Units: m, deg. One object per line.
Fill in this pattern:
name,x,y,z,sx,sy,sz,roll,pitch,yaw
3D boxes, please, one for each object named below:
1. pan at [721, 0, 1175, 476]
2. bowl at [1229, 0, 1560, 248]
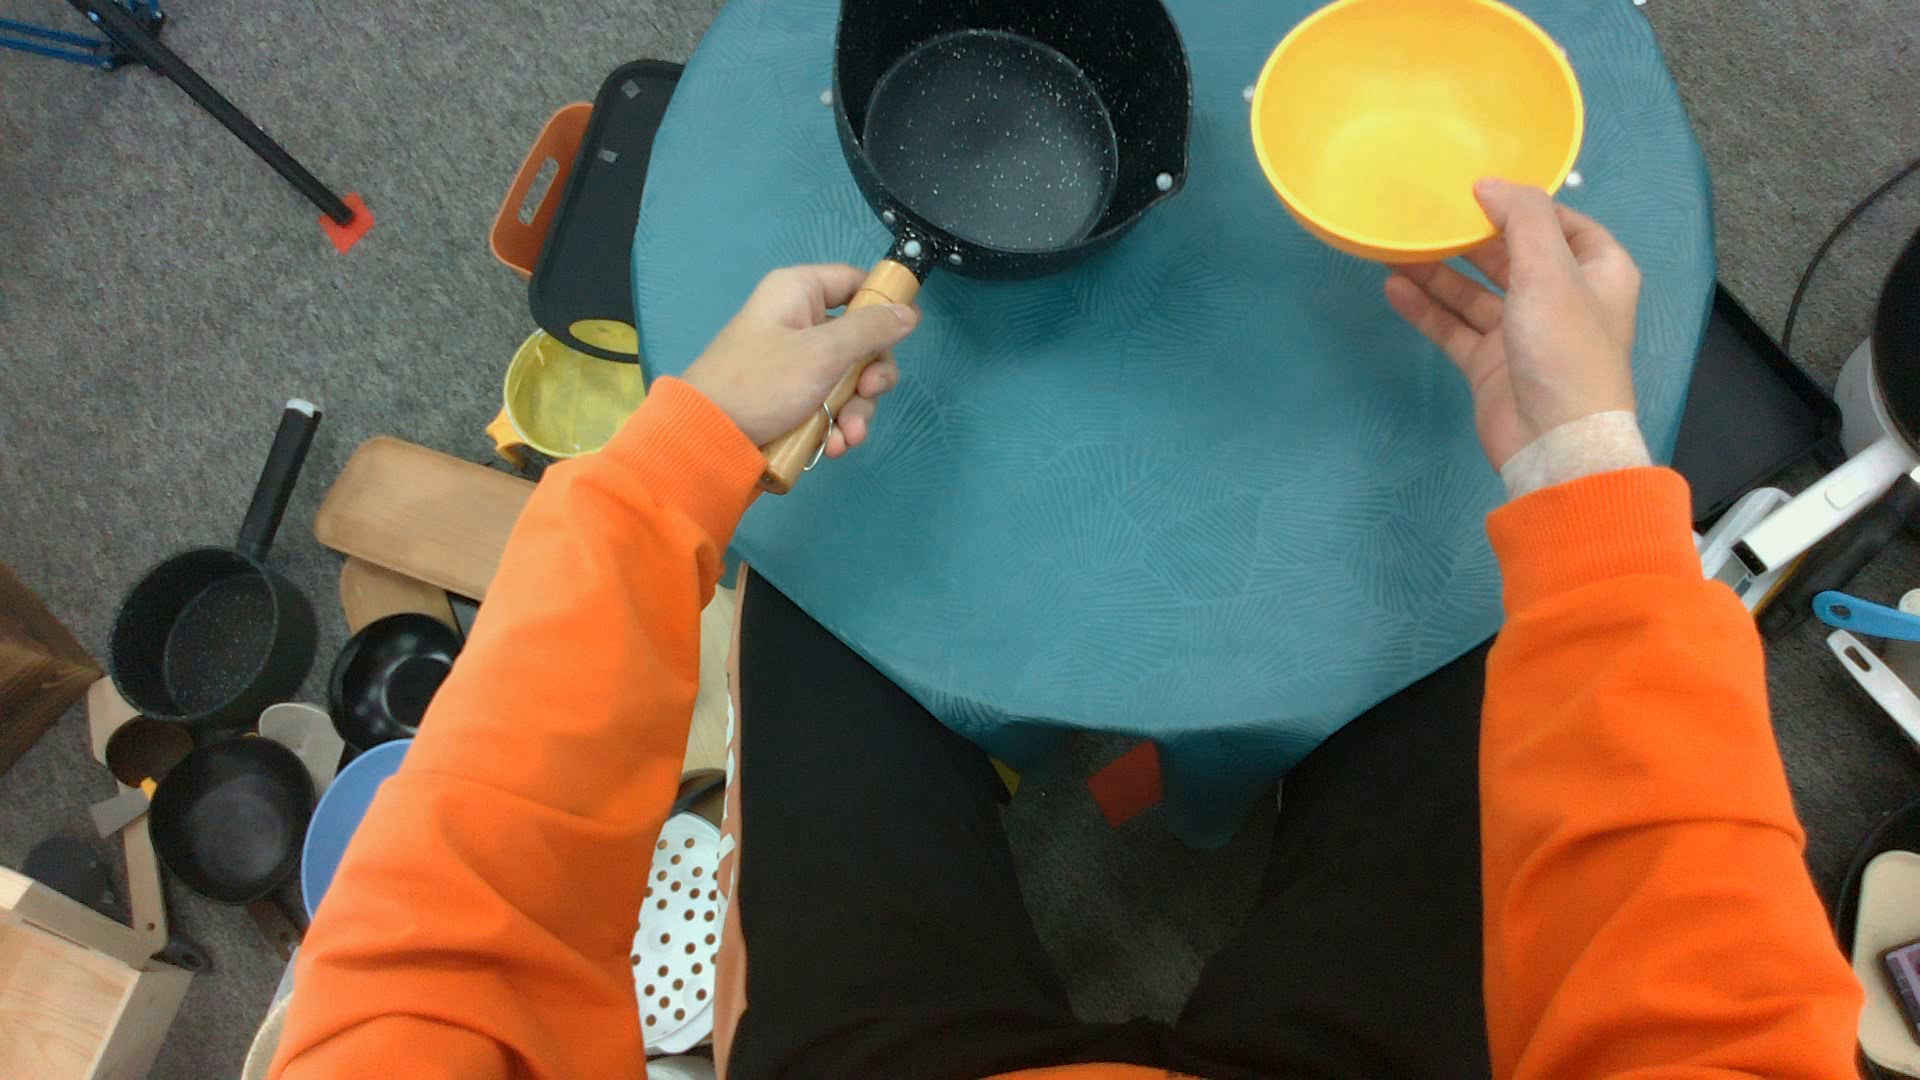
pan,-0.022,-0.167,0.706,0.207,0.108,0.343,30,75,-5
bowl,0.201,-0.192,0.653,0.145,0.060,0.146,-4,70,10
